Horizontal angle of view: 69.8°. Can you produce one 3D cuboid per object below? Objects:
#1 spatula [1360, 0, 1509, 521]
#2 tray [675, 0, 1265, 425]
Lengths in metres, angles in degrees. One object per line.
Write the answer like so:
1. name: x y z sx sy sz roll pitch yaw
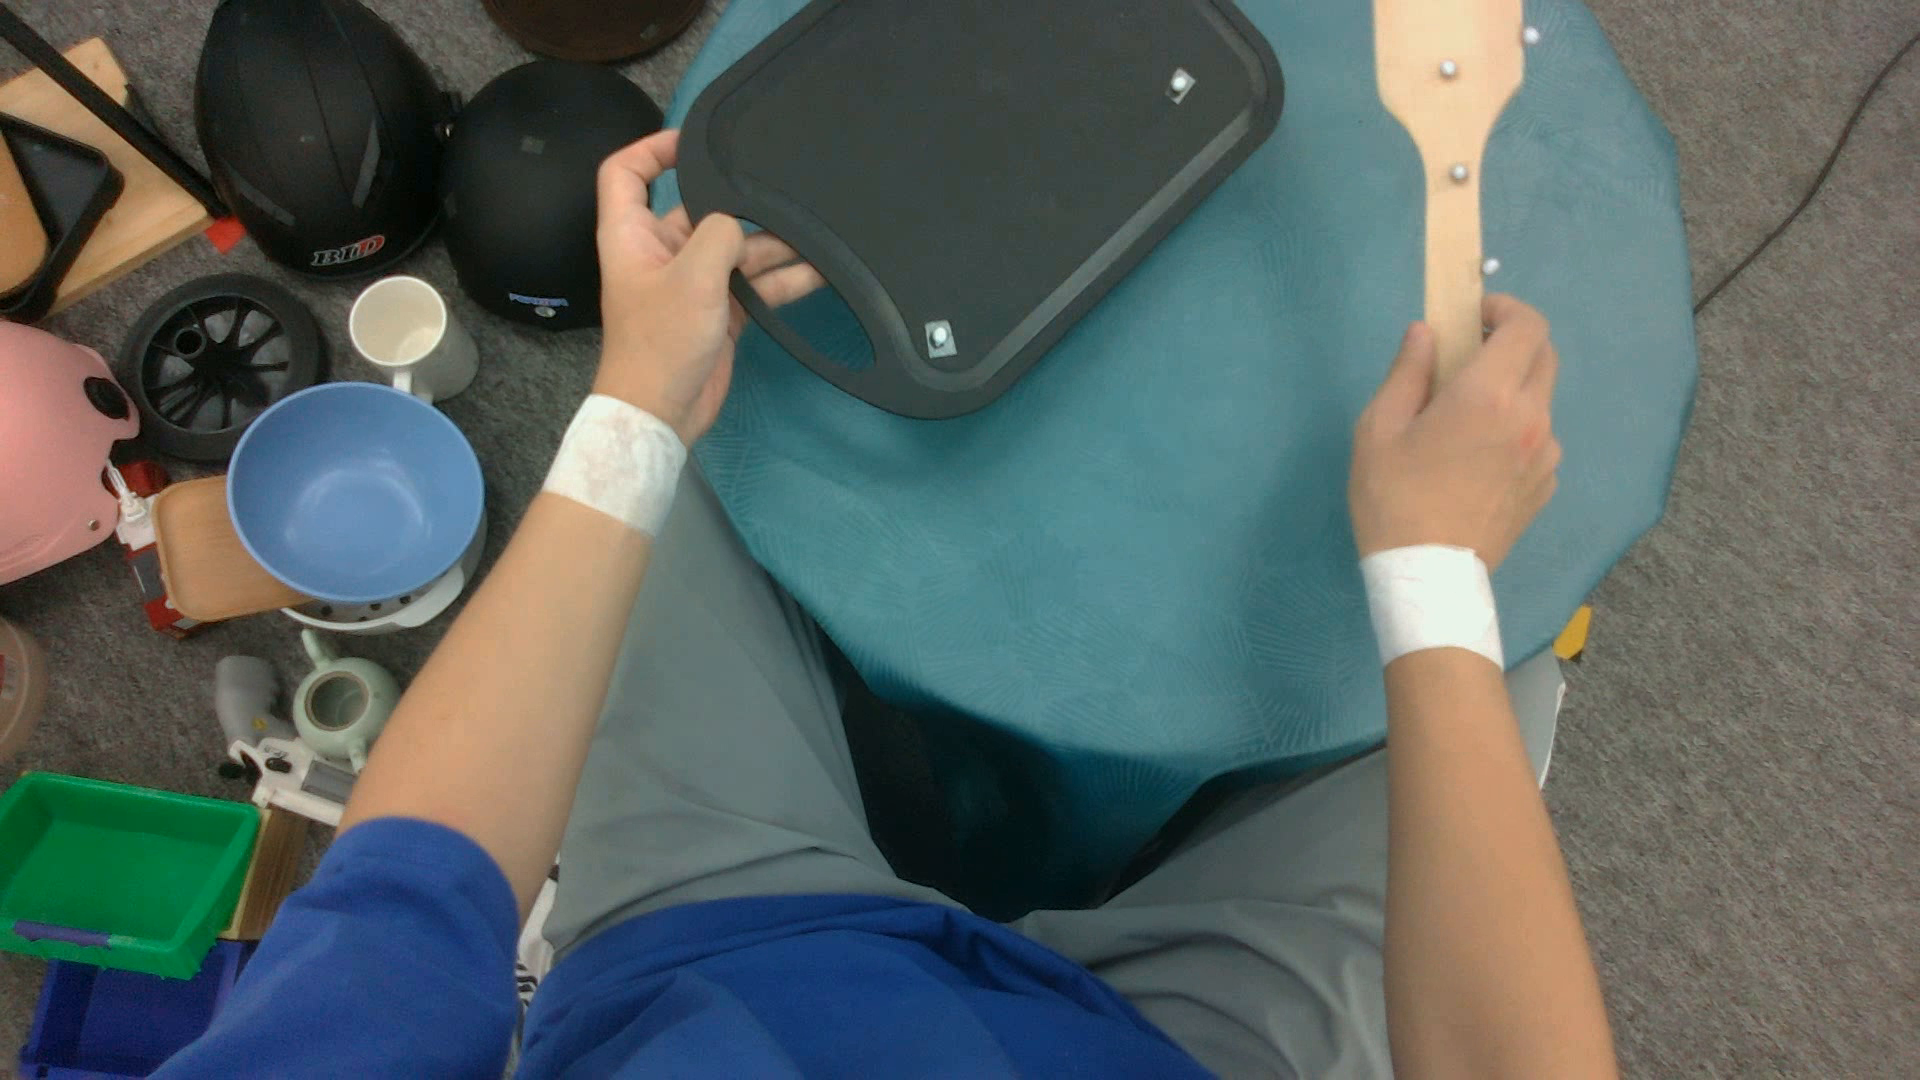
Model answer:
1. spatula: 0.244 -0.155 0.699 0.072 0.010 0.293 -3 84 25
2. tray: 0.011 -0.212 0.731 0.211 0.010 0.326 45 73 -3
